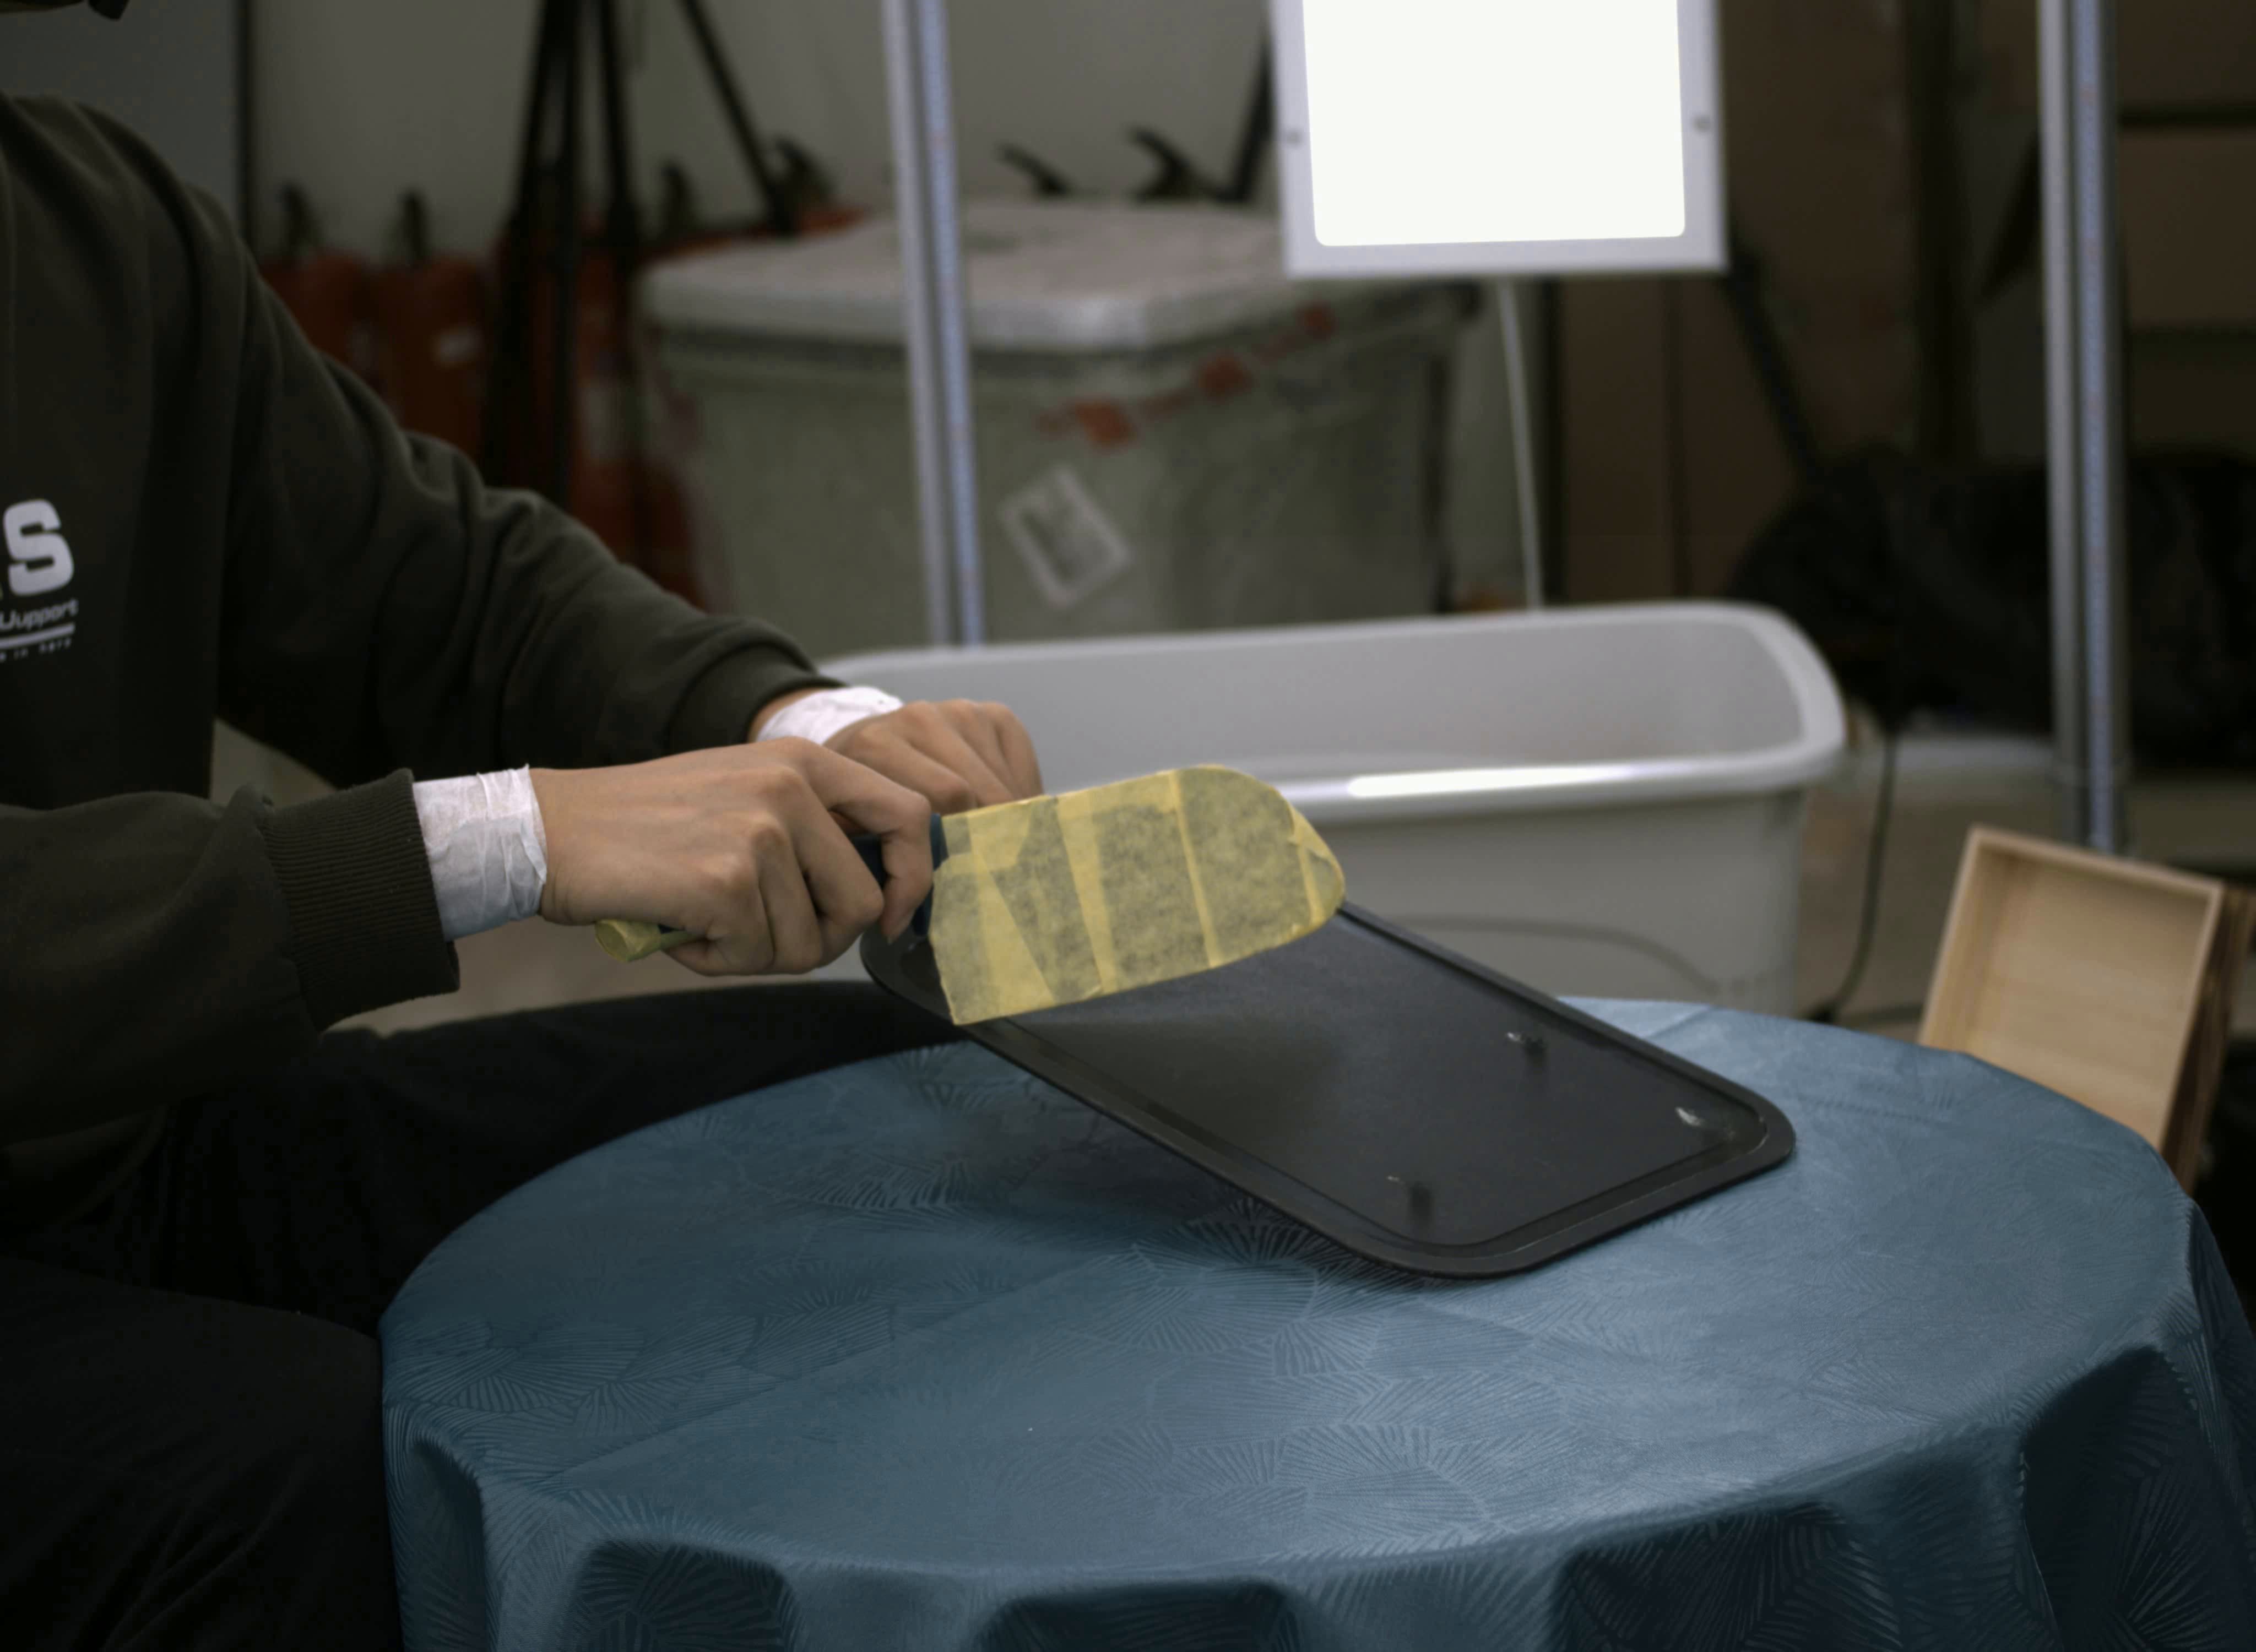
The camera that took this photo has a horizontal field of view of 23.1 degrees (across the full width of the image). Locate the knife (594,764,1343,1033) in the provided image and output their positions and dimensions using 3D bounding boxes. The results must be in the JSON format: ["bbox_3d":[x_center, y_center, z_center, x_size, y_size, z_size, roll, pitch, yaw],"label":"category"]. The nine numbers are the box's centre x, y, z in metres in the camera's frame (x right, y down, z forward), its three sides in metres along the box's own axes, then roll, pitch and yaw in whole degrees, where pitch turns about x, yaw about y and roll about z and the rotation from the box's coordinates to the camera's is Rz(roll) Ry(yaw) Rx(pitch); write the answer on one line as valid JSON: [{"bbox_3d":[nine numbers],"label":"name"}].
[{"bbox_3d":[-0.049,0.030,1.912,0.283,0.081,0.028,-9,-8,-25],"label":"knife"}]

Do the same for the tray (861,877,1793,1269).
[{"bbox_3d":[0.061,0.071,1.924,0.206,0.010,0.331,-16,32,-42],"label":"tray"}]
